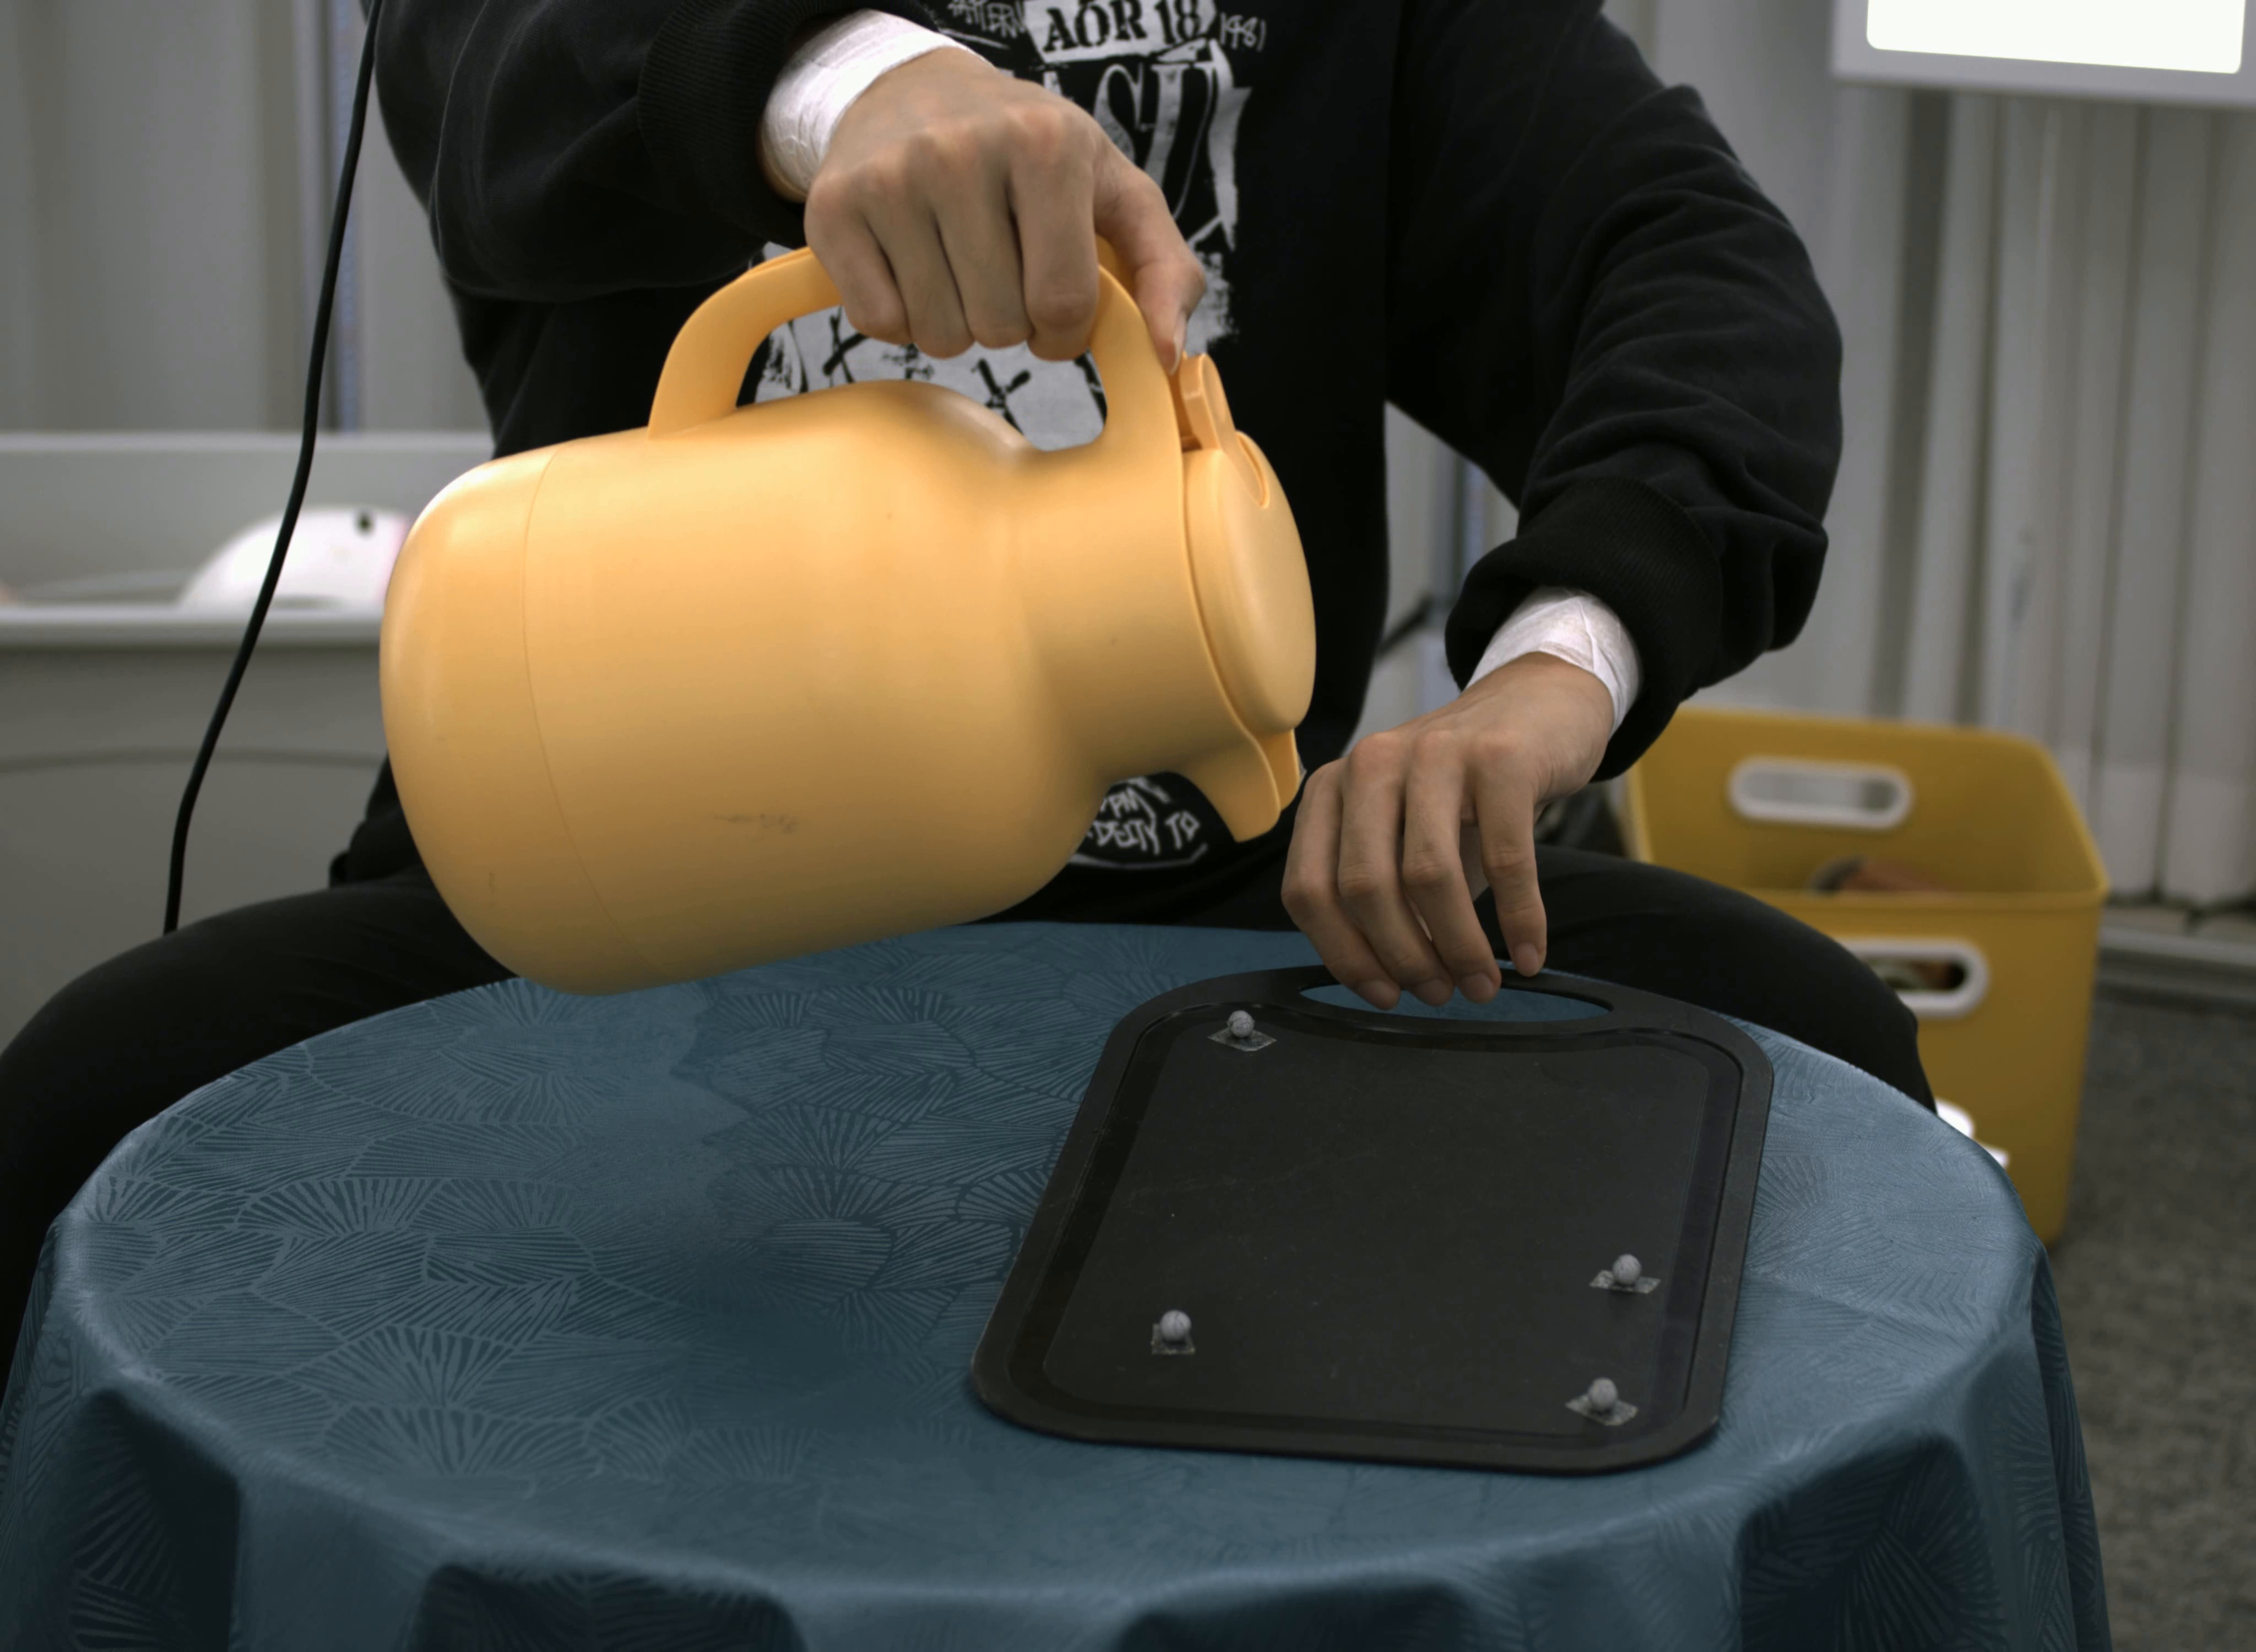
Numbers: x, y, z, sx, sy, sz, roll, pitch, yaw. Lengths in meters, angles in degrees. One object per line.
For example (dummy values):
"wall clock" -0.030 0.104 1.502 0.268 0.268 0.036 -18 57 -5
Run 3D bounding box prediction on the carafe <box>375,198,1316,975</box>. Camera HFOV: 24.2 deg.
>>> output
"carafe" -0.081 -0.070 1.518 0.258 0.204 0.163 -9 11 14

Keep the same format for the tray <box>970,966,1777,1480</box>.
"tray" 0.080 0.107 1.560 0.210 0.010 0.324 4 23 10
